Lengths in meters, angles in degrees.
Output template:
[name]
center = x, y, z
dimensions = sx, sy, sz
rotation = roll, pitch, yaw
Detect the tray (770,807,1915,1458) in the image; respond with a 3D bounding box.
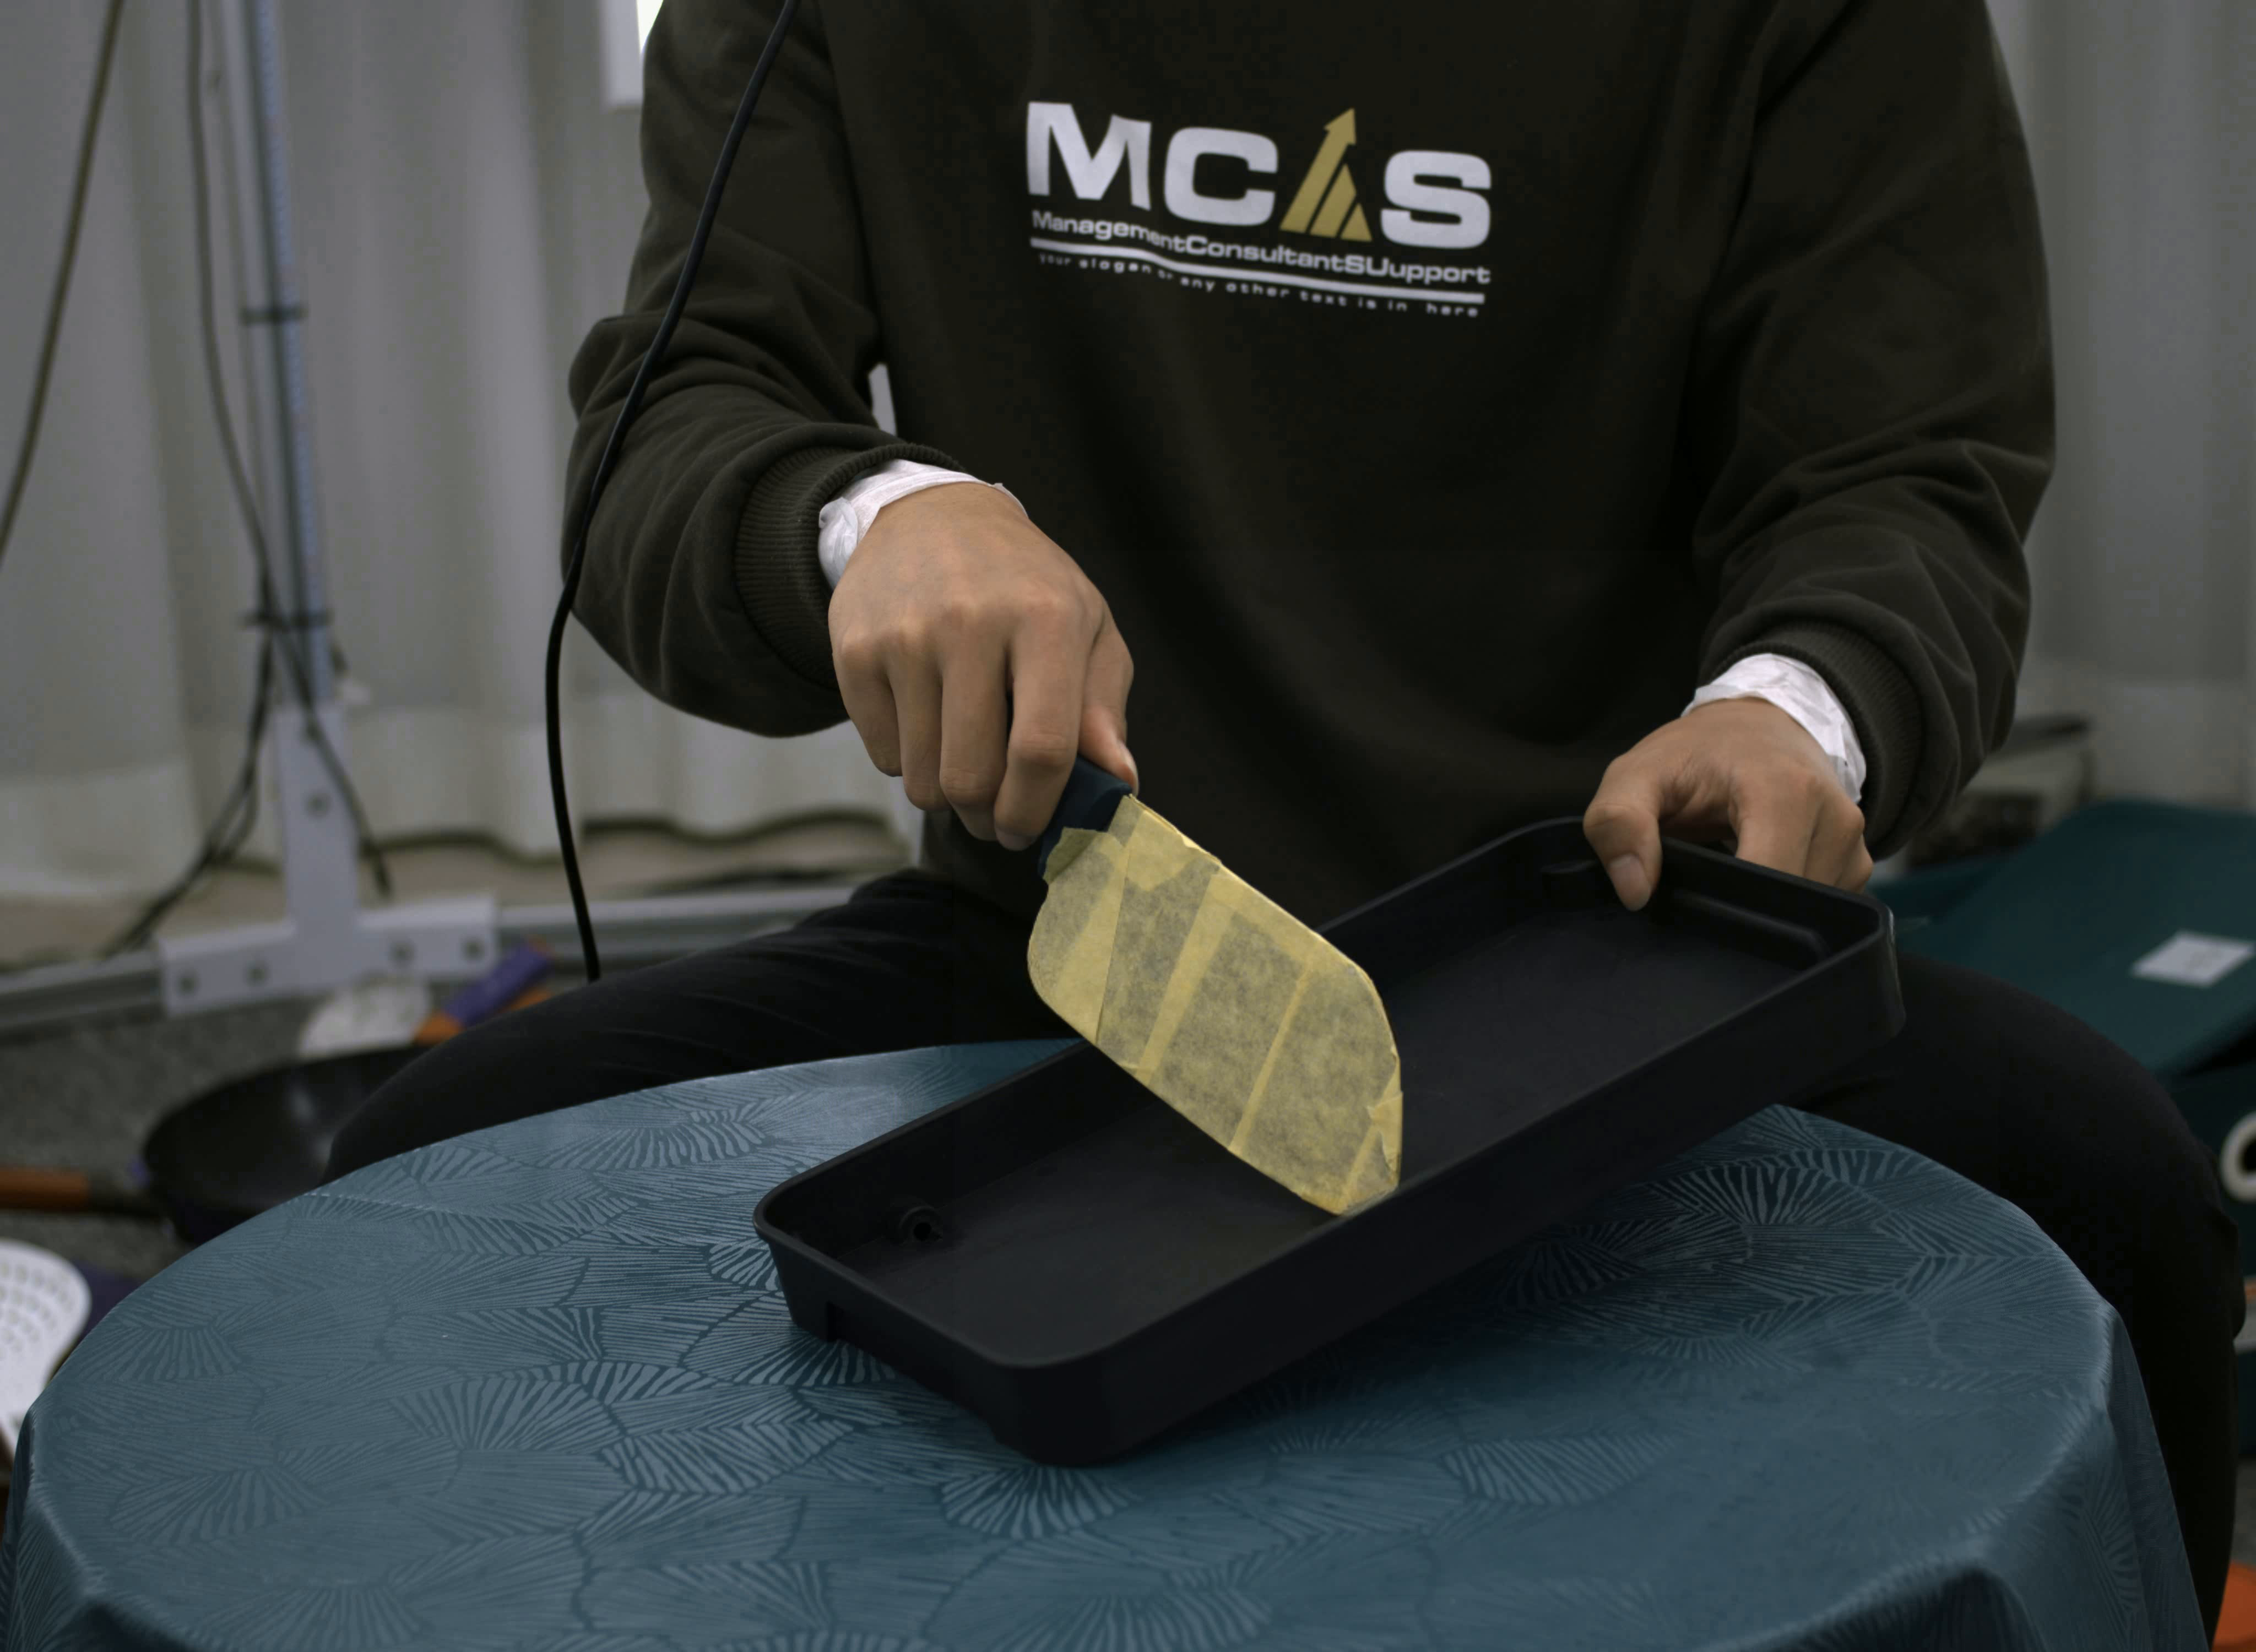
[tray]
center = 0.066, 0.084, 1.617
dimensions = 0.318, 0.037, 0.185
rotation = -26, 22, -26

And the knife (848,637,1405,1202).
[knife]
center = -0.005, 0.025, 1.655
dimensions = 0.027, 0.081, 0.293
rotation = 11, 23, -44
